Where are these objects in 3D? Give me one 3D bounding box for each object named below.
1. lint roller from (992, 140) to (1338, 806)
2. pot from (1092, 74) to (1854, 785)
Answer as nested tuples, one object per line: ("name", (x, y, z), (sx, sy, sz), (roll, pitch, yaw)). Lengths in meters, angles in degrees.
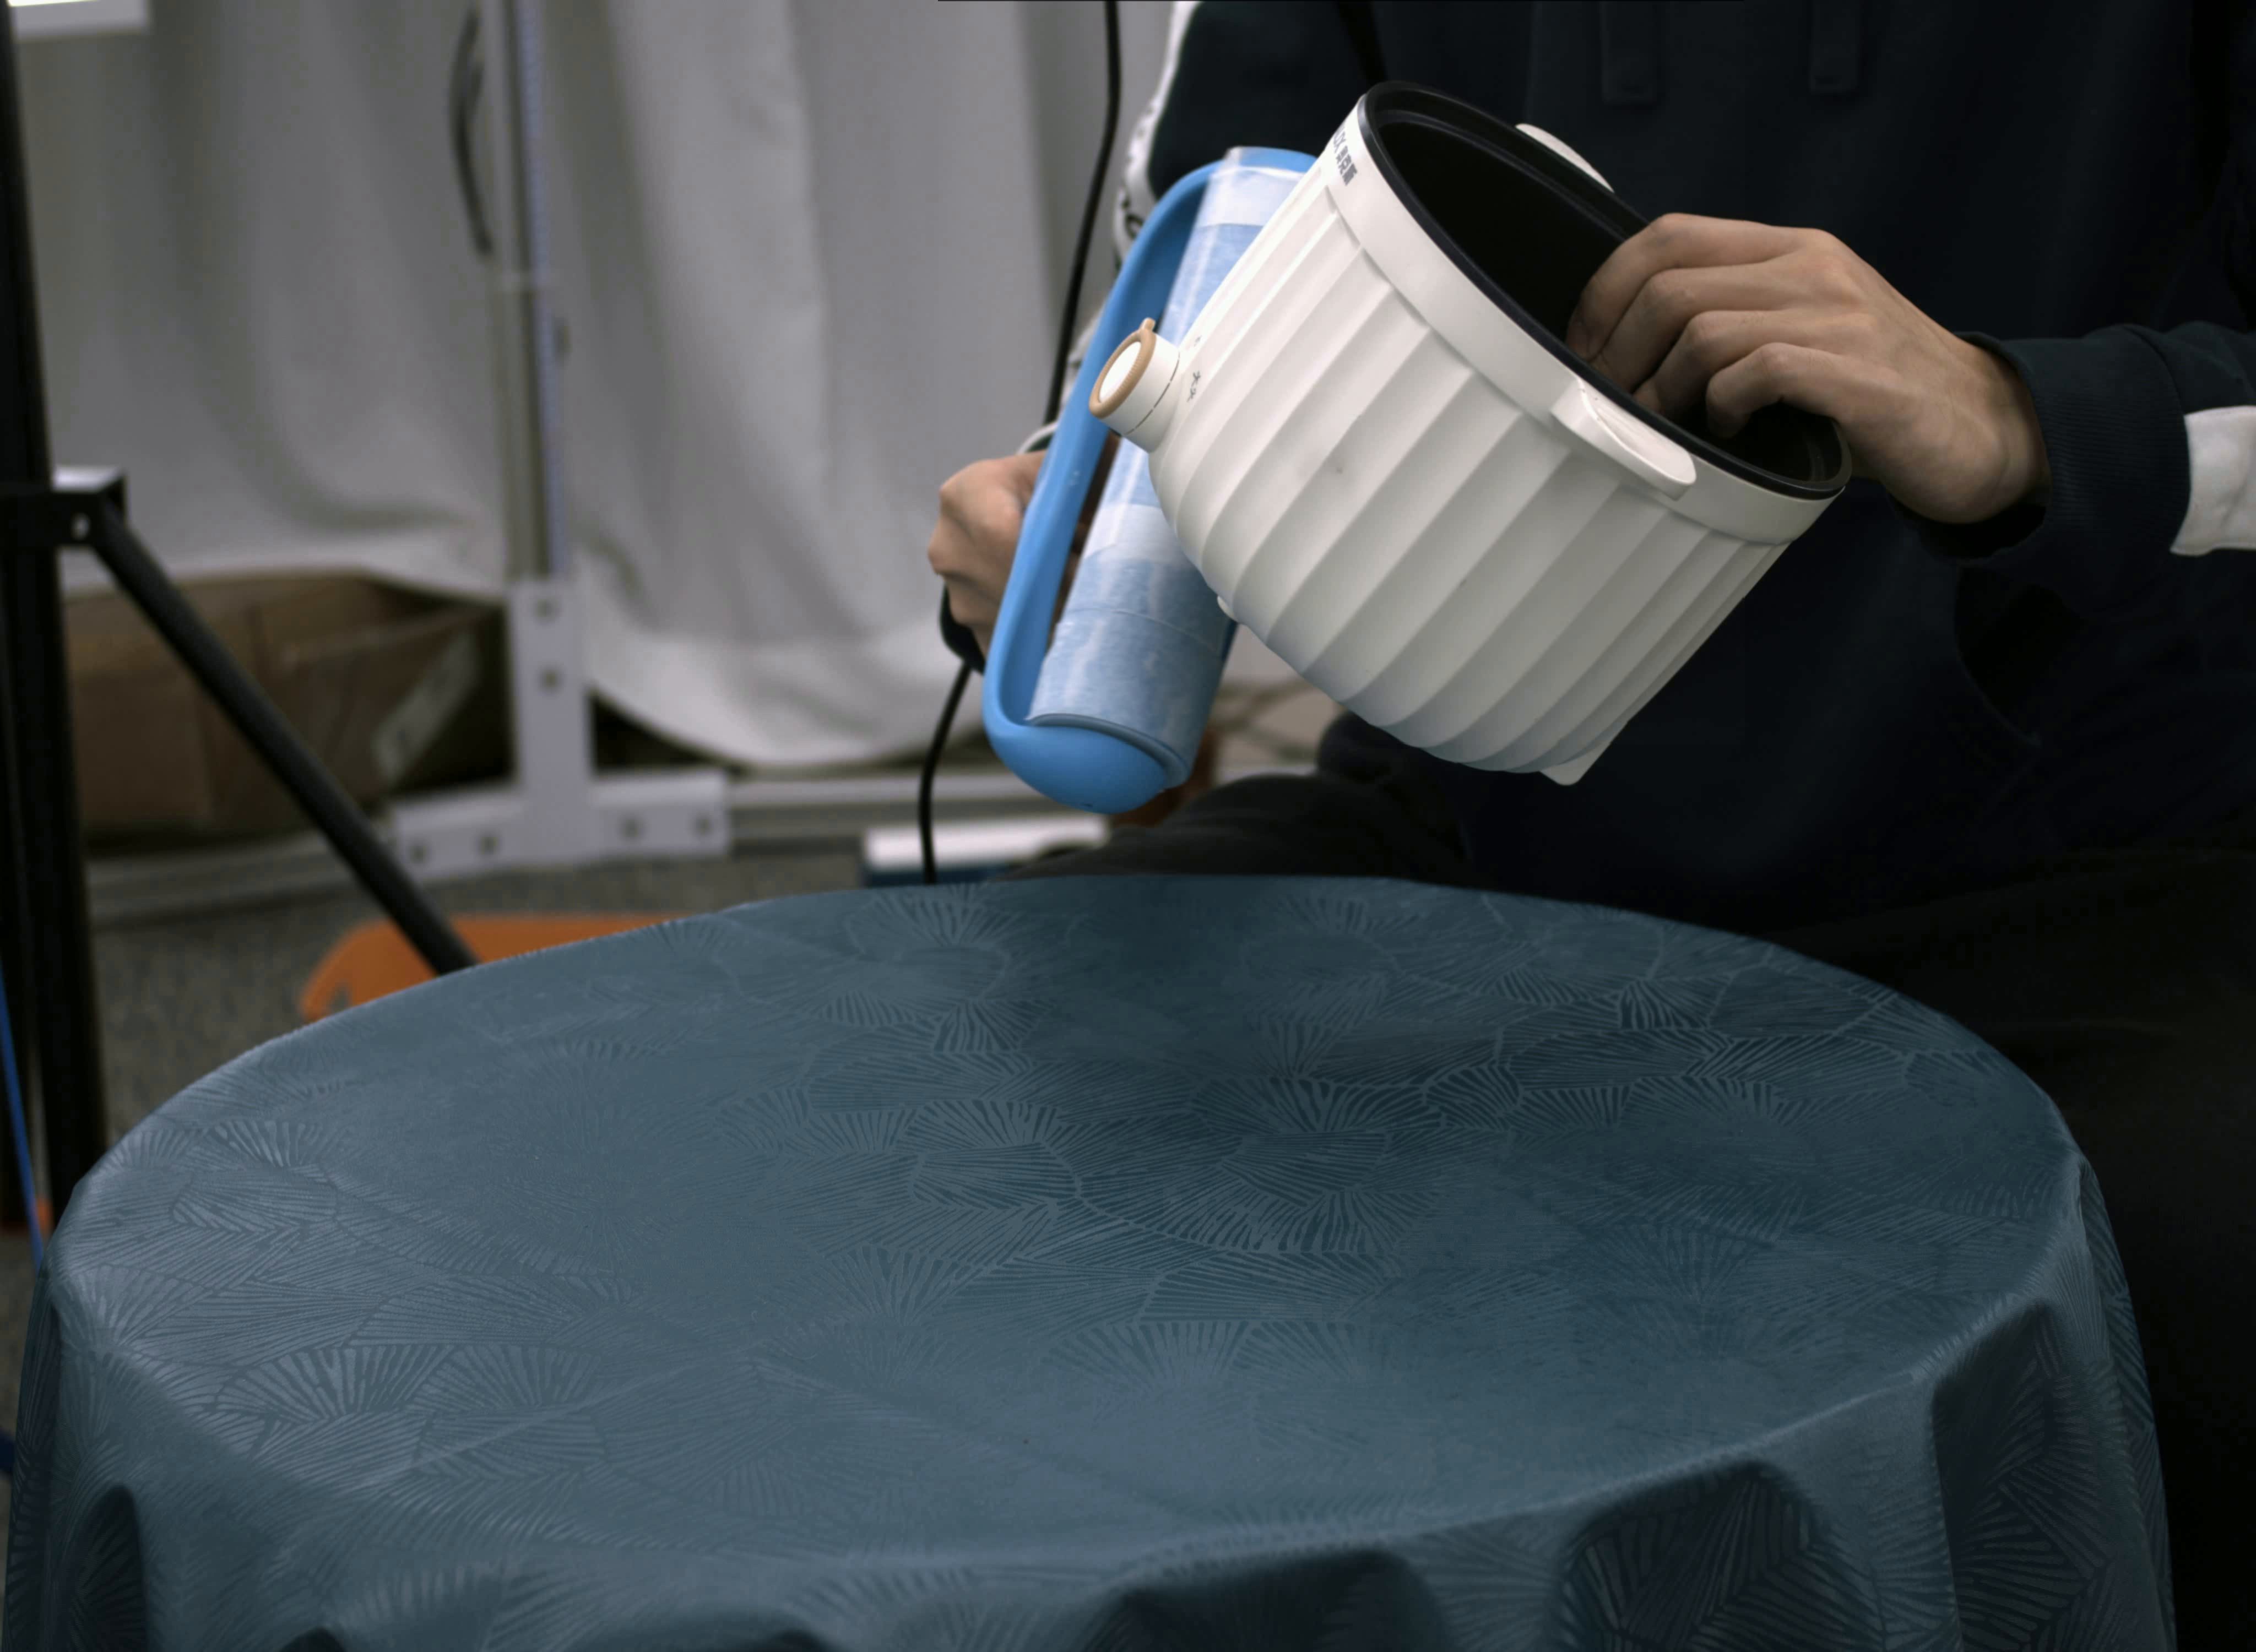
("lint roller", (0.000, -0.096, 1.713), (0.067, 0.230, 0.182), (22, -22, -15))
("pot", (0.098, -0.112, 1.566), (0.187, 0.143, 0.242), (35, 21, -19))
